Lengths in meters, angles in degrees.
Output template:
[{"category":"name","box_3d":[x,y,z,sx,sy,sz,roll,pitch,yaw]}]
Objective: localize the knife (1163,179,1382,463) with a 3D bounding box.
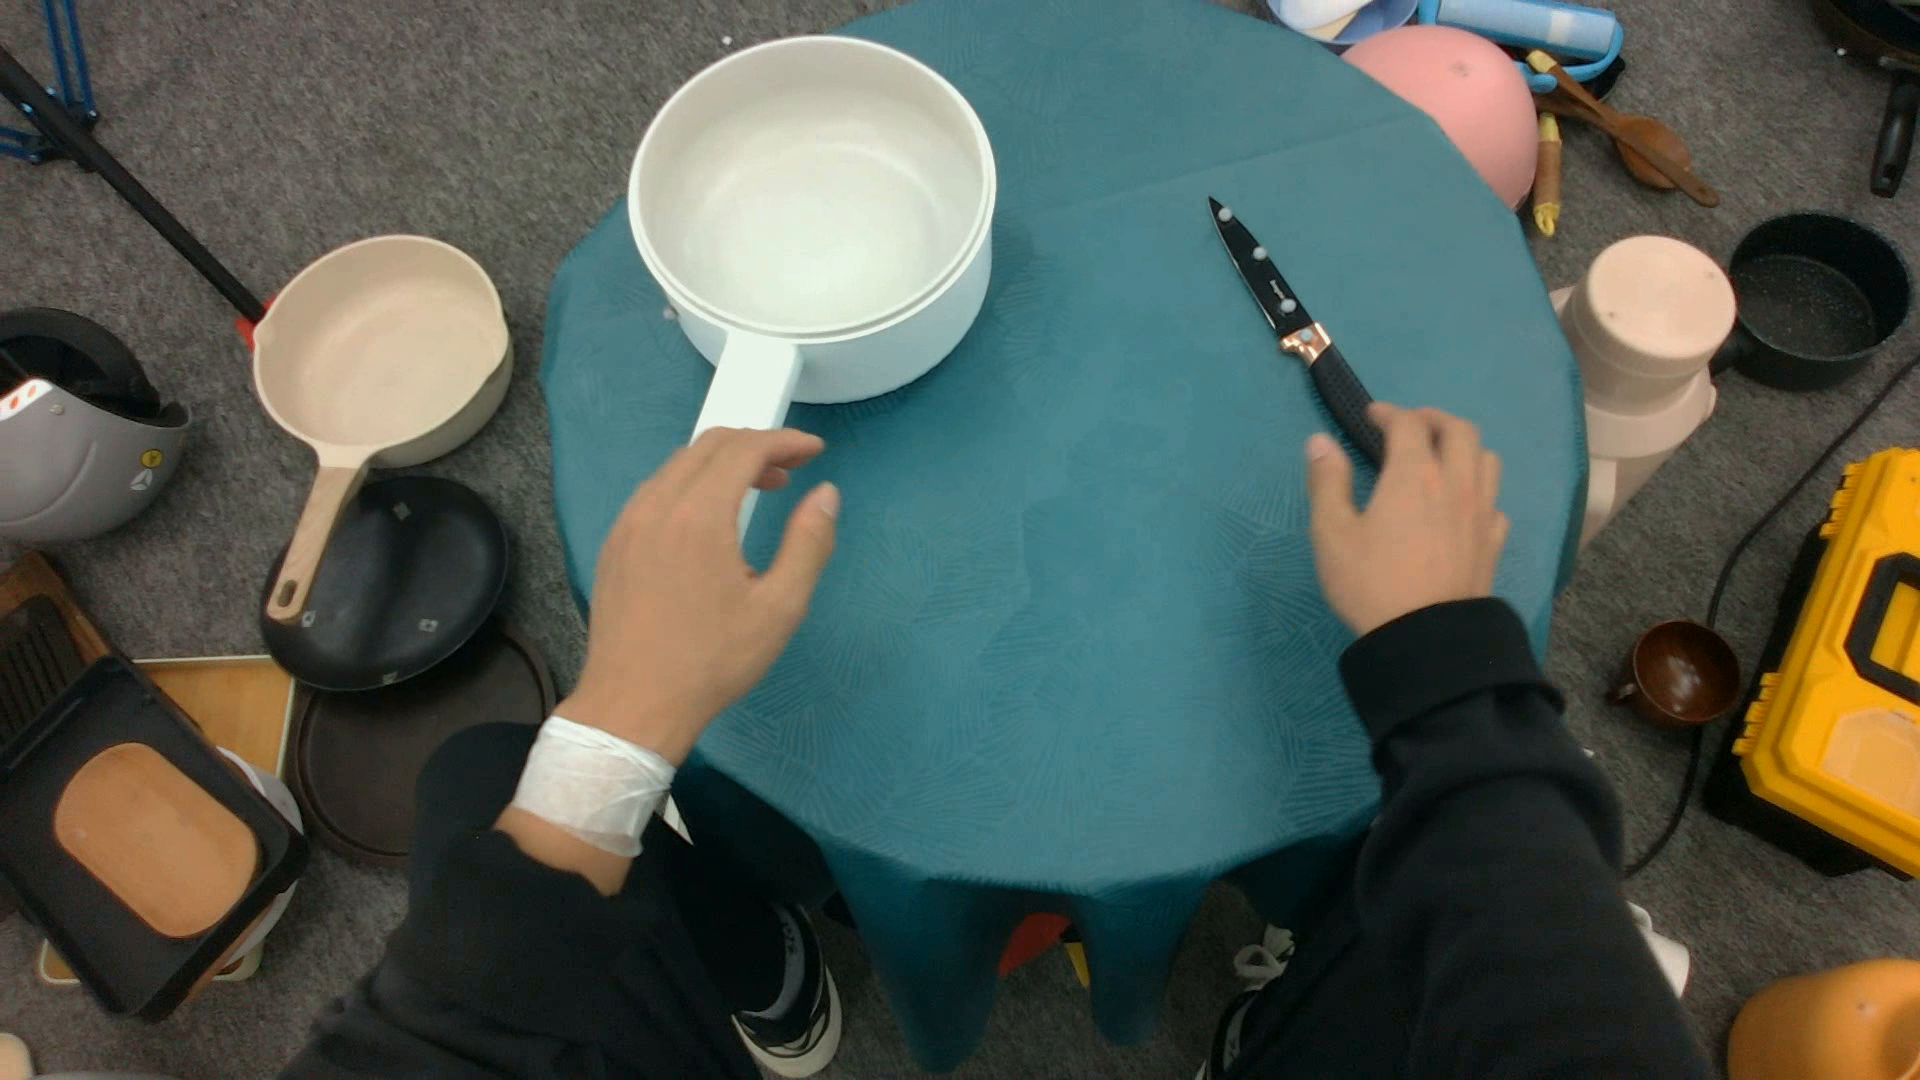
[{"category":"knife","box_3d":[0.183,-0.136,0.818,0.026,0.017,0.226,-30,68,5]}]

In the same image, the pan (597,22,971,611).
[{"category":"pan","box_3d":[-0.113,-0.119,0.769,0.201,0.102,0.356,13,68,5]}]
